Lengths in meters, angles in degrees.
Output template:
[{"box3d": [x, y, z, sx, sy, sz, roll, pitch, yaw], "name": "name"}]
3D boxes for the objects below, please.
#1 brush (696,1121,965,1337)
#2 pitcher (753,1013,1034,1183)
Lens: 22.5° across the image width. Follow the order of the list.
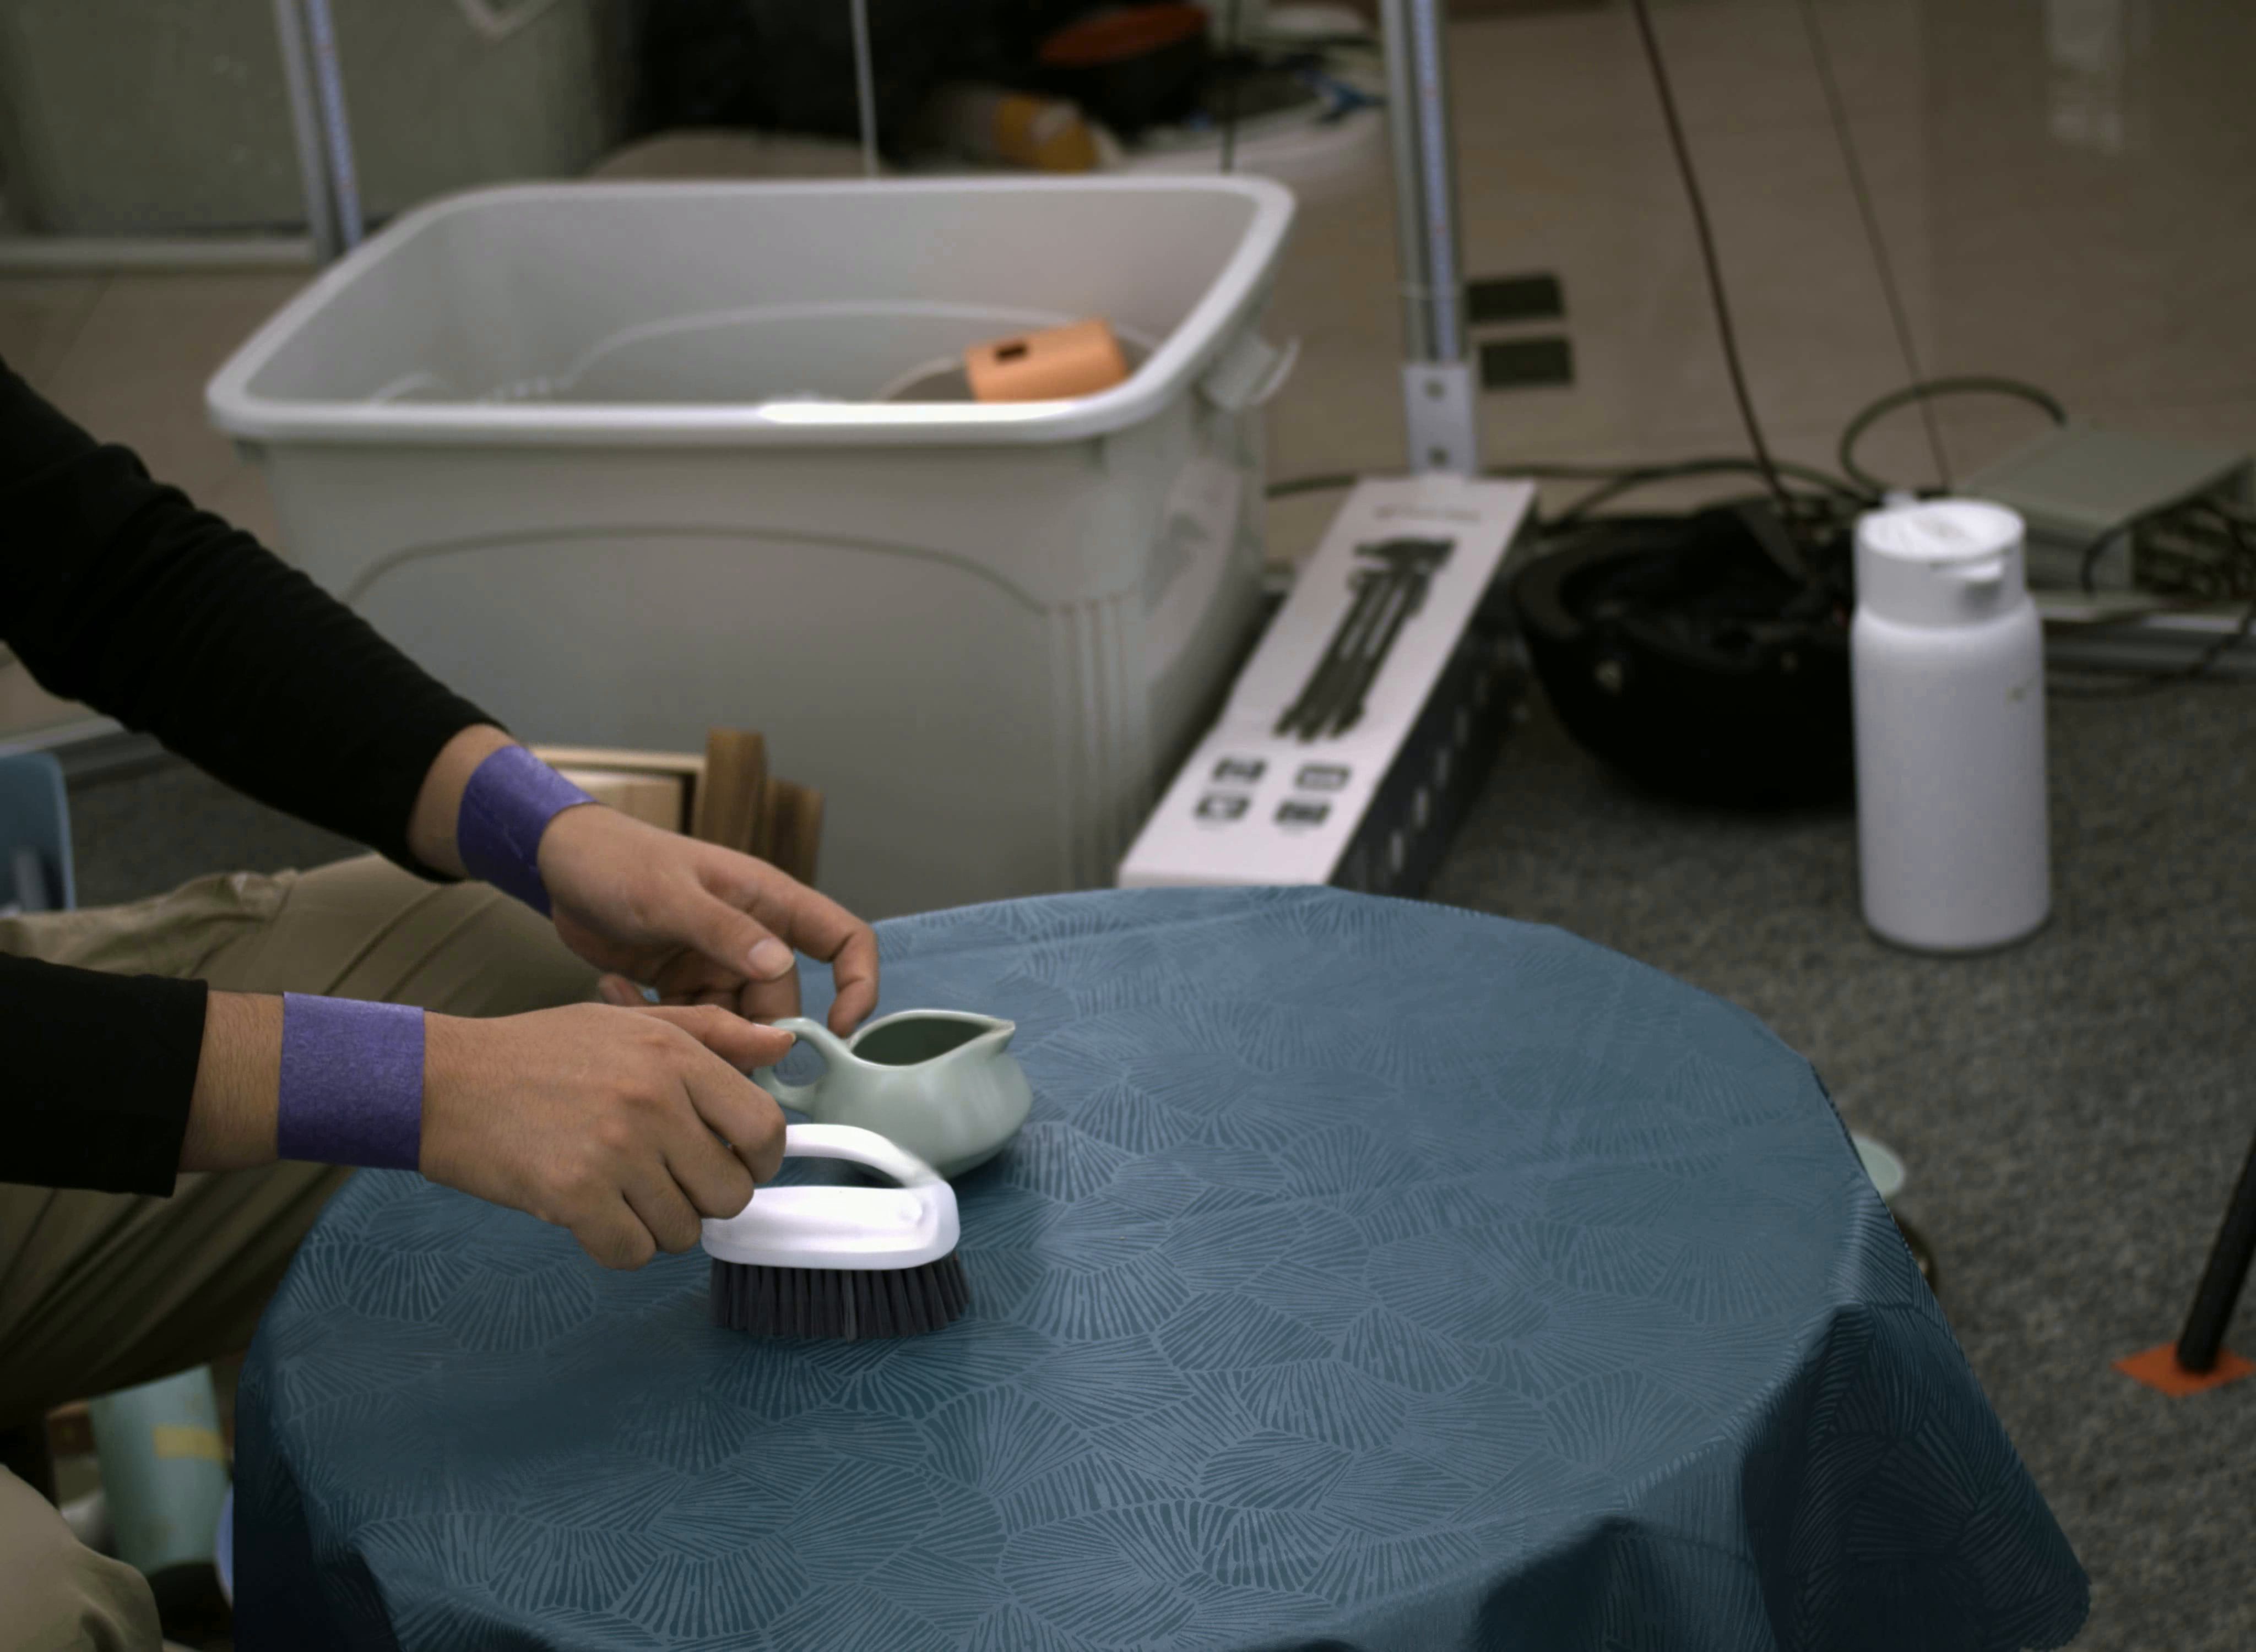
[{"box3d": [-0.111, 0.143, 2.076, 0.099, 0.073, 0.049, 4, 27, 18], "name": "brush"}, {"box3d": [-0.091, 0.103, 2.181, 0.108, 0.061, 0.085, -5, 24, 11], "name": "pitcher"}]
